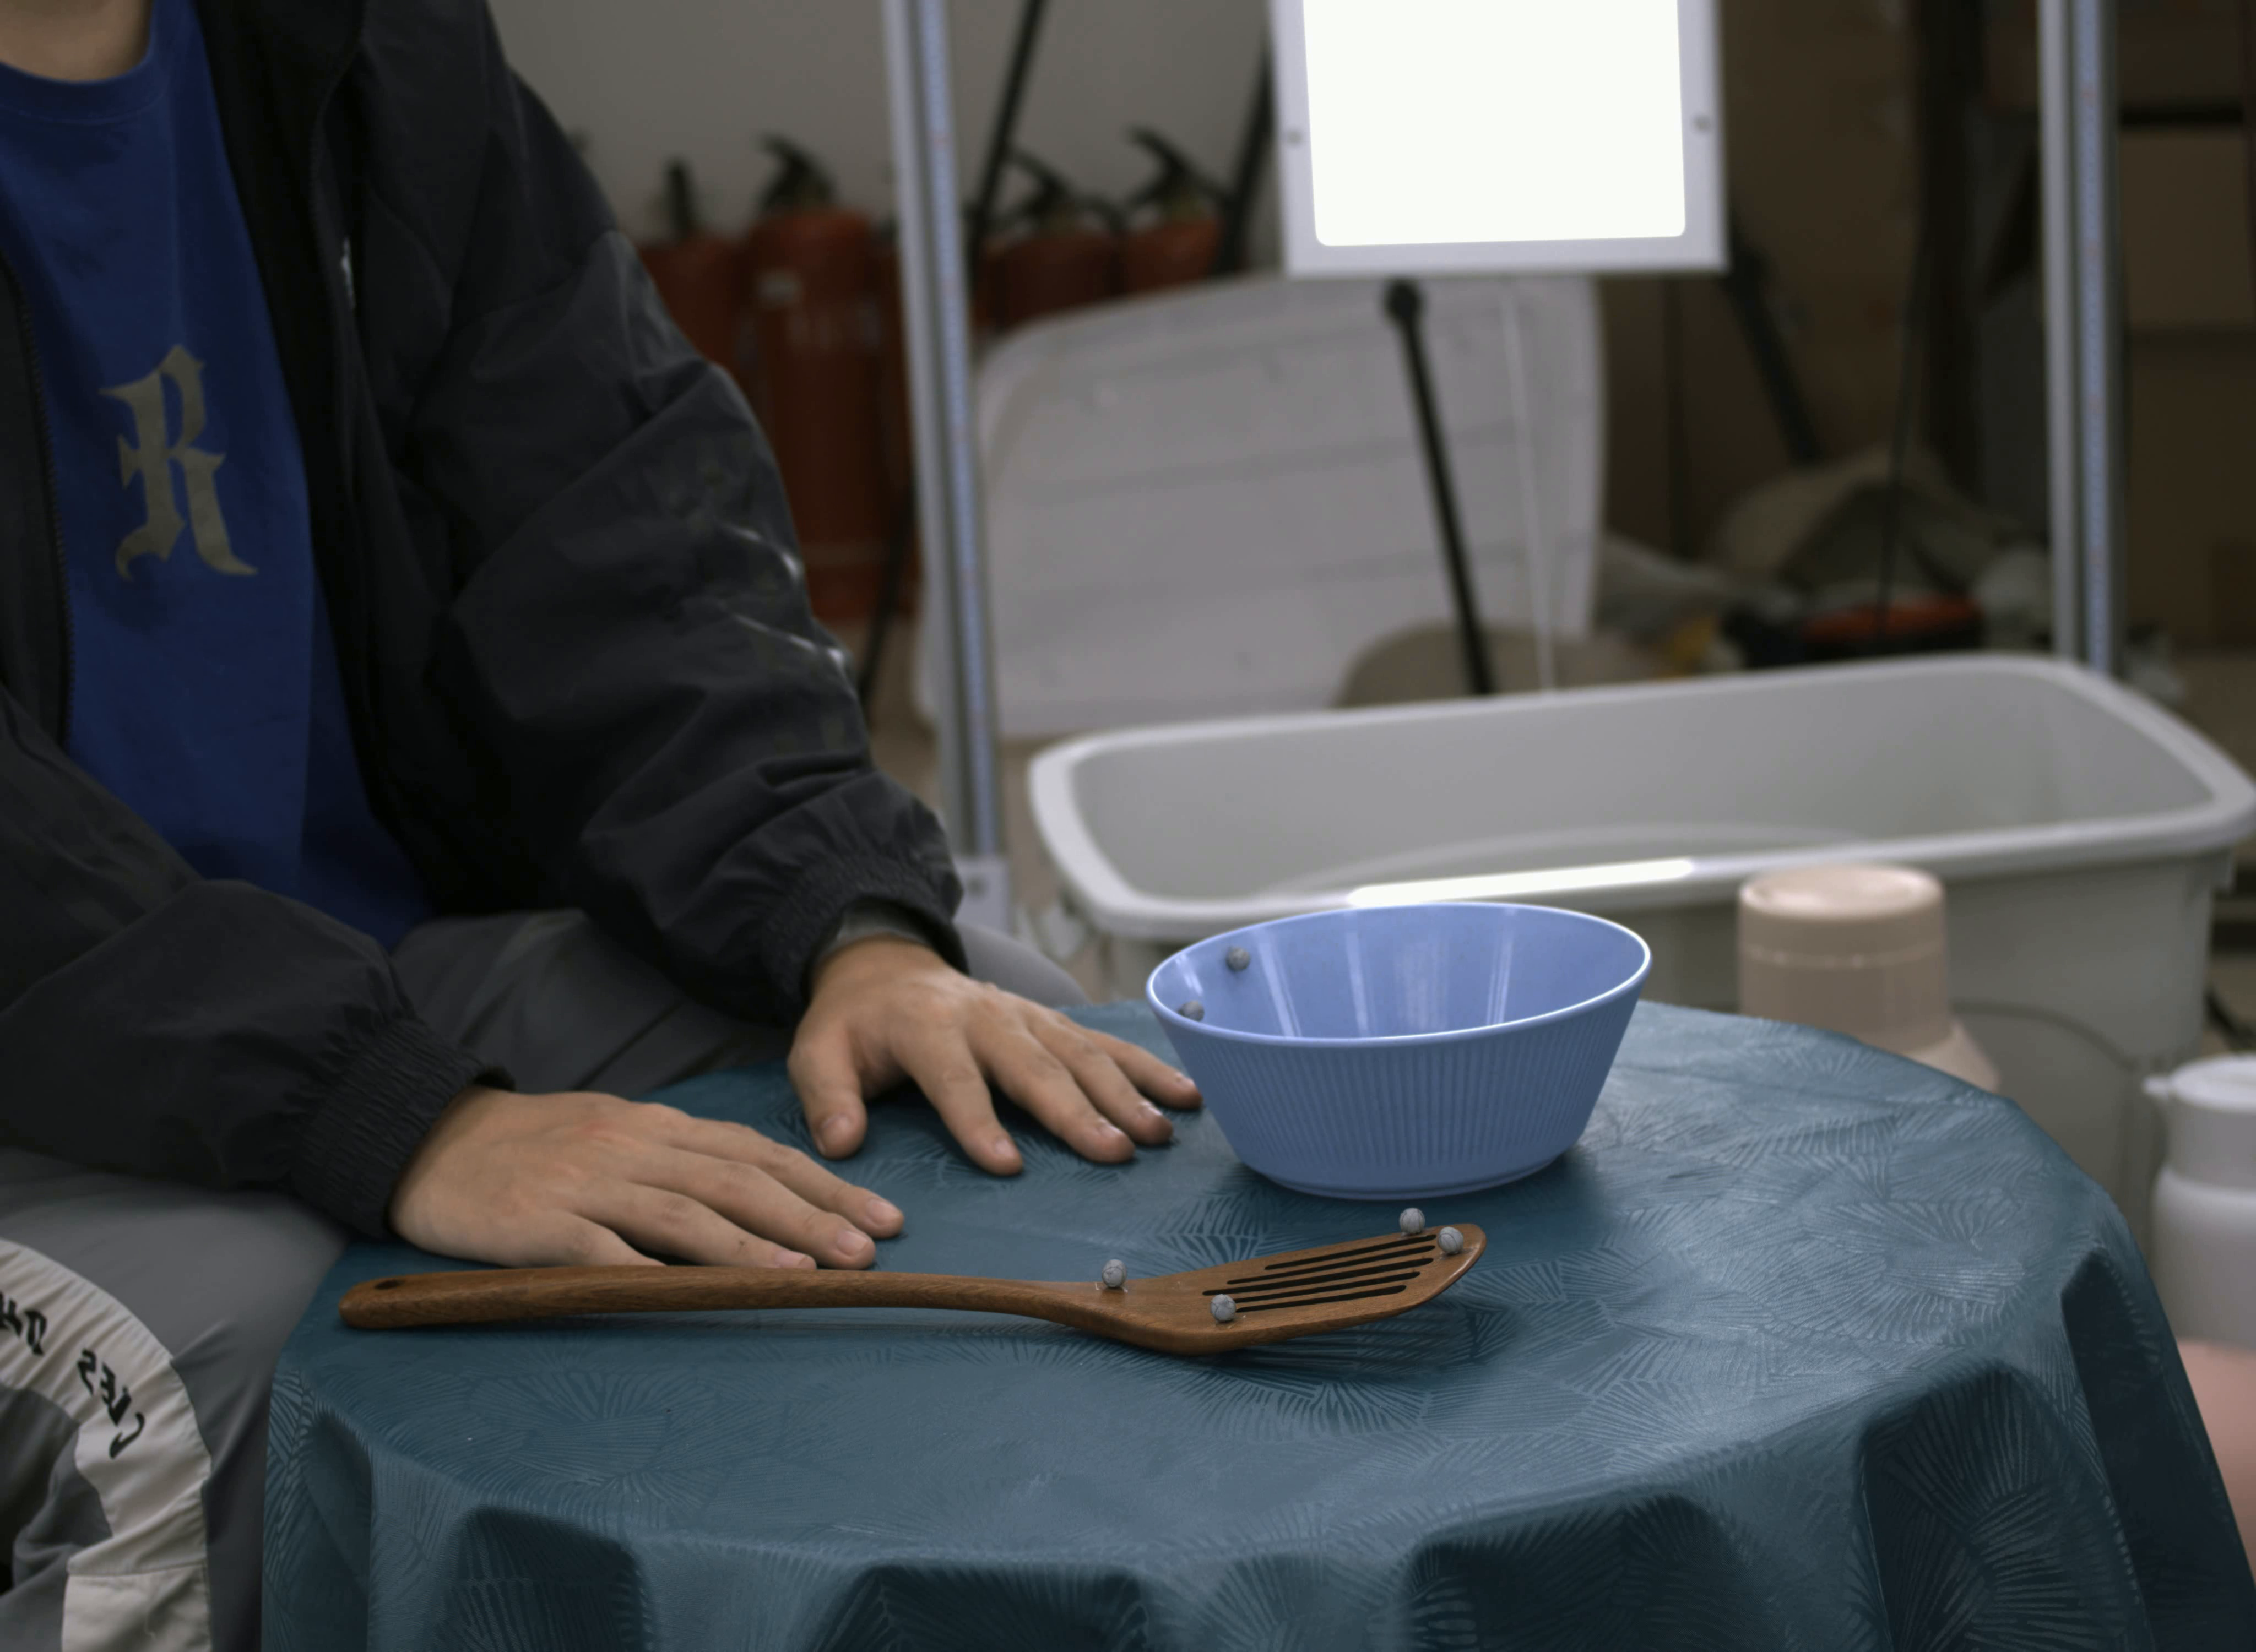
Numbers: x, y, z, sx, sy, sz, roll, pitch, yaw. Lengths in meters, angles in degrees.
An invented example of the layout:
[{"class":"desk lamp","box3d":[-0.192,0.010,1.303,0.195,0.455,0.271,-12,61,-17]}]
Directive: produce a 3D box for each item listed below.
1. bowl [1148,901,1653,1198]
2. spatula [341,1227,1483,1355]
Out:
[{"class":"bowl","box3d":[0.097,0.080,1.903,0.175,0.070,0.176,-6,13,0]},{"class":"spatula","box3d":[-0.076,0.152,1.779,0.391,0.024,0.084,-2,13,19]}]
